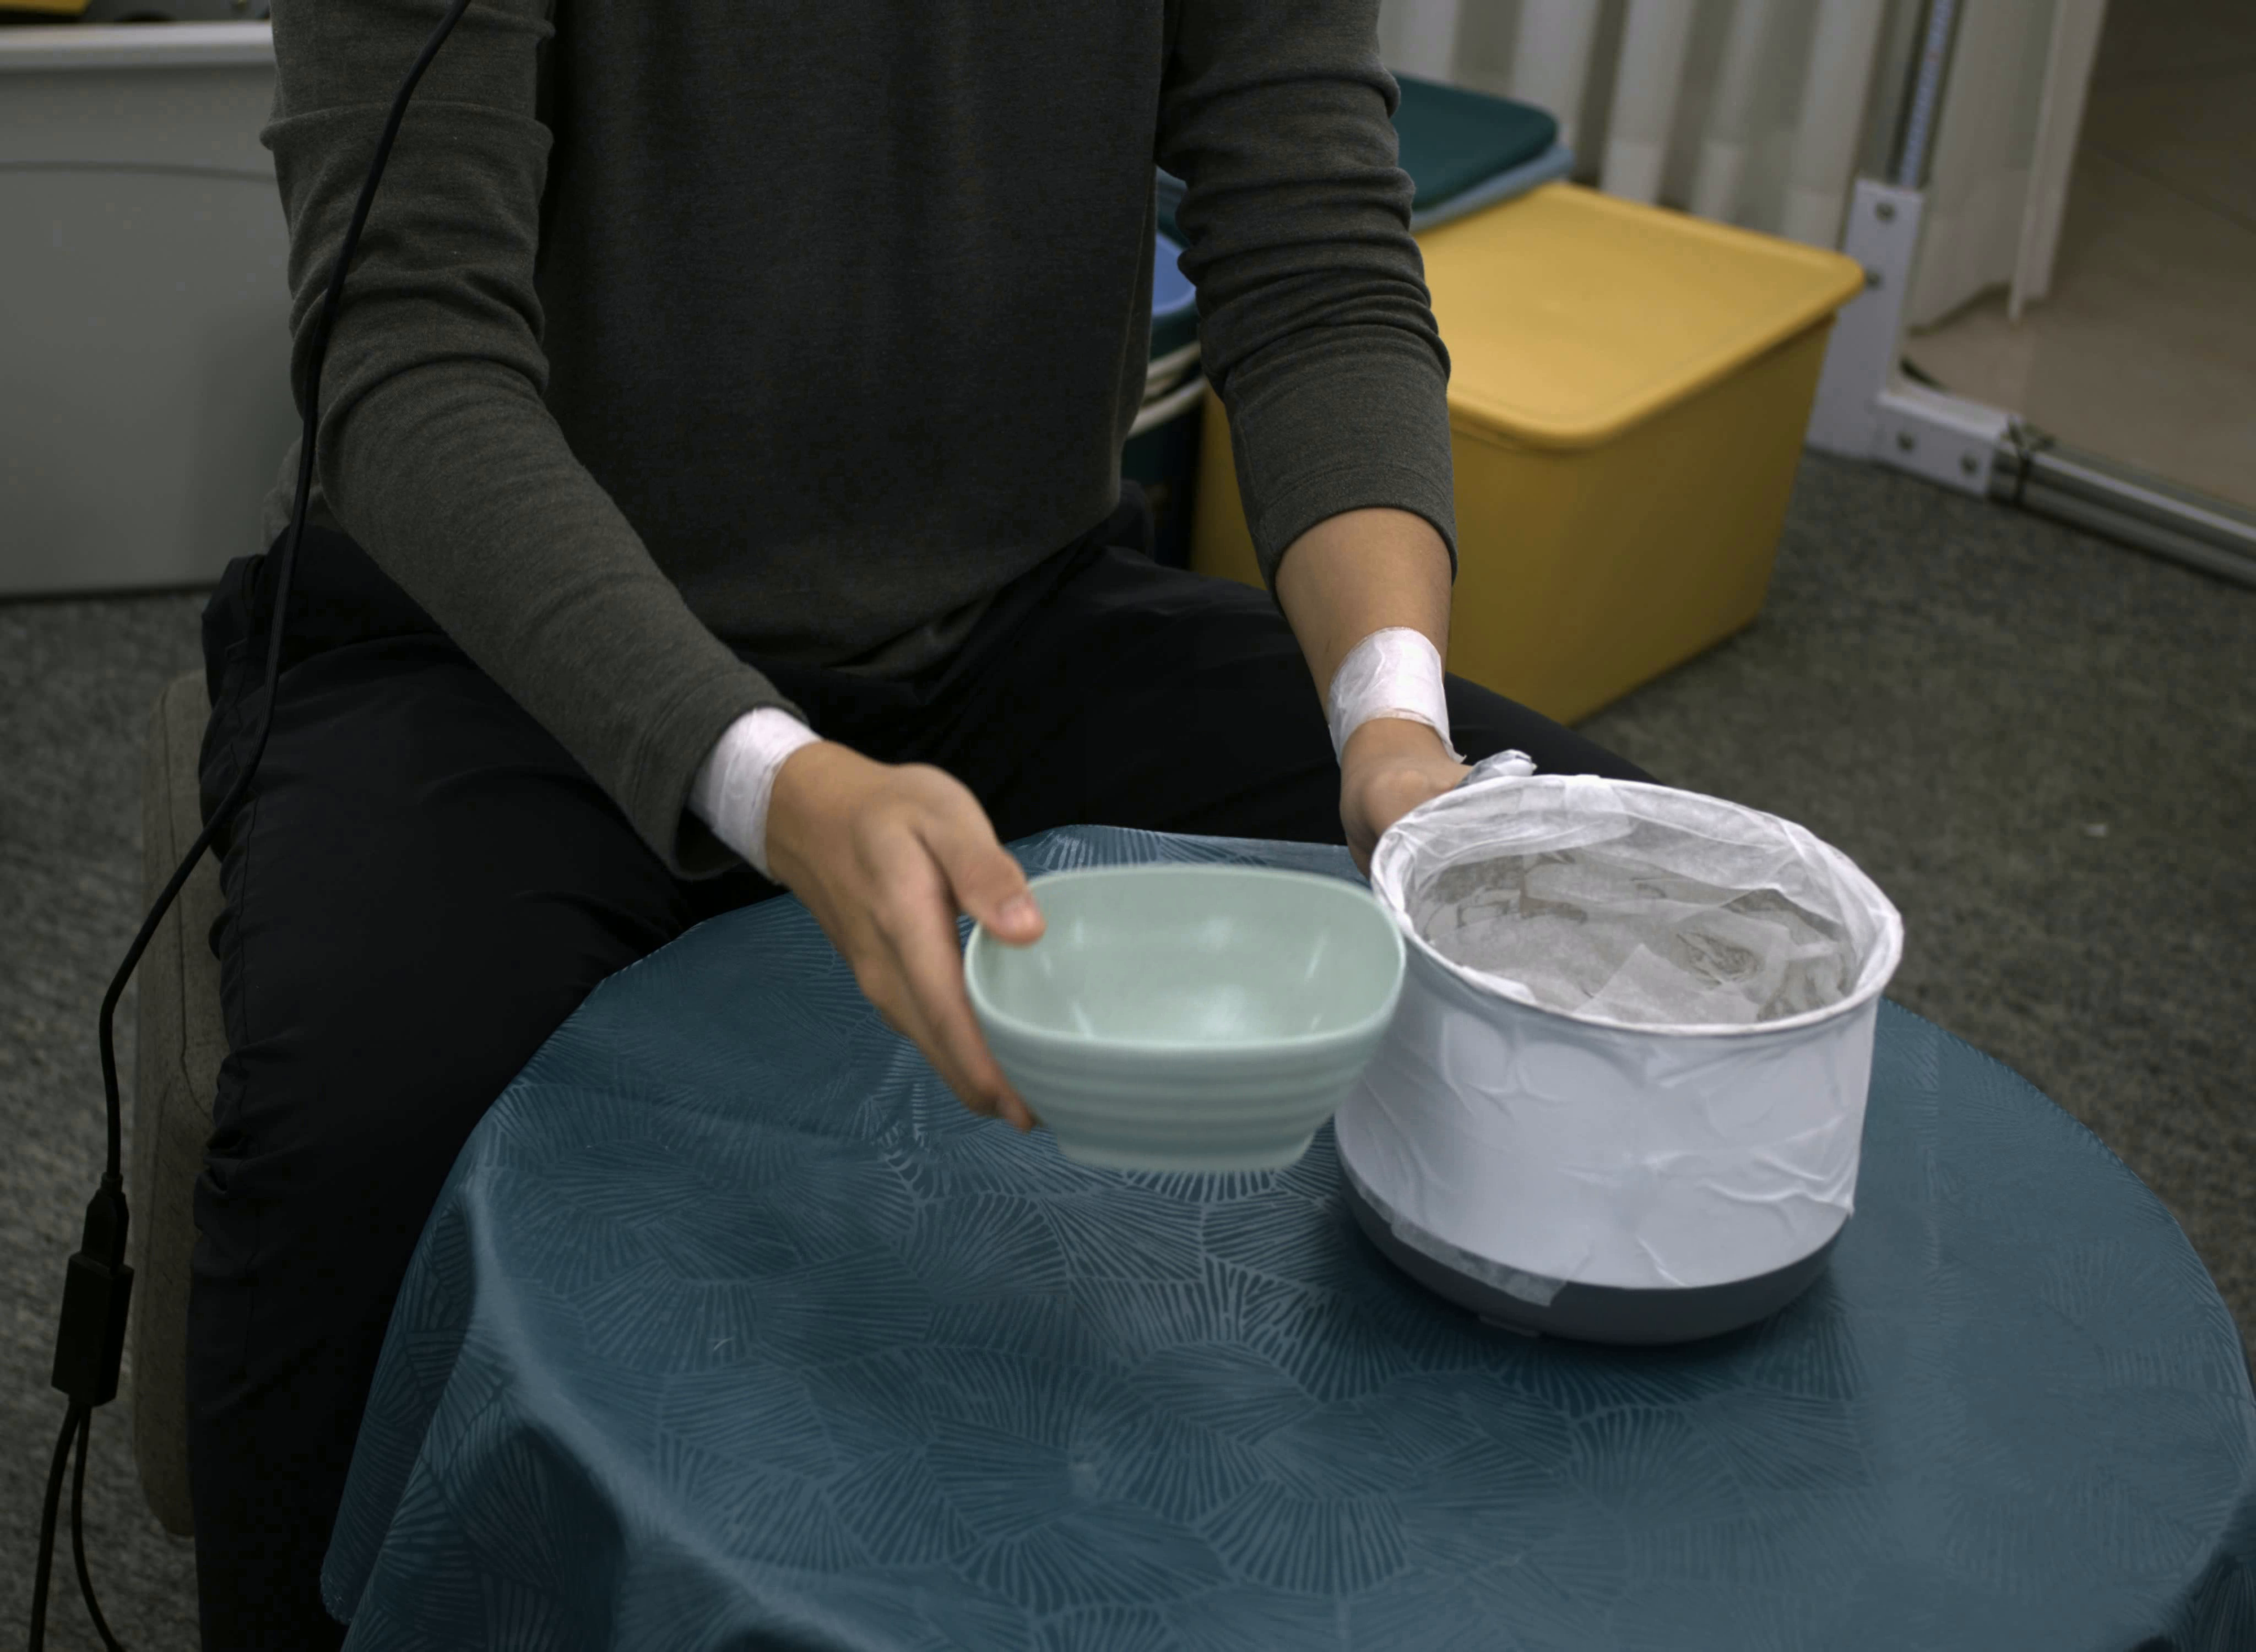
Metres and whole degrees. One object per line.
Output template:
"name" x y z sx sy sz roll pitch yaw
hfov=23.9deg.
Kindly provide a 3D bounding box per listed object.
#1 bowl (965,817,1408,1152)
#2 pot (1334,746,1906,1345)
"bowl" 0.017 0.056 1.676 0.151 0.058 0.152 3 28 -2
"pot" 0.150 0.067 1.800 0.177 0.136 0.236 -5 29 -22
